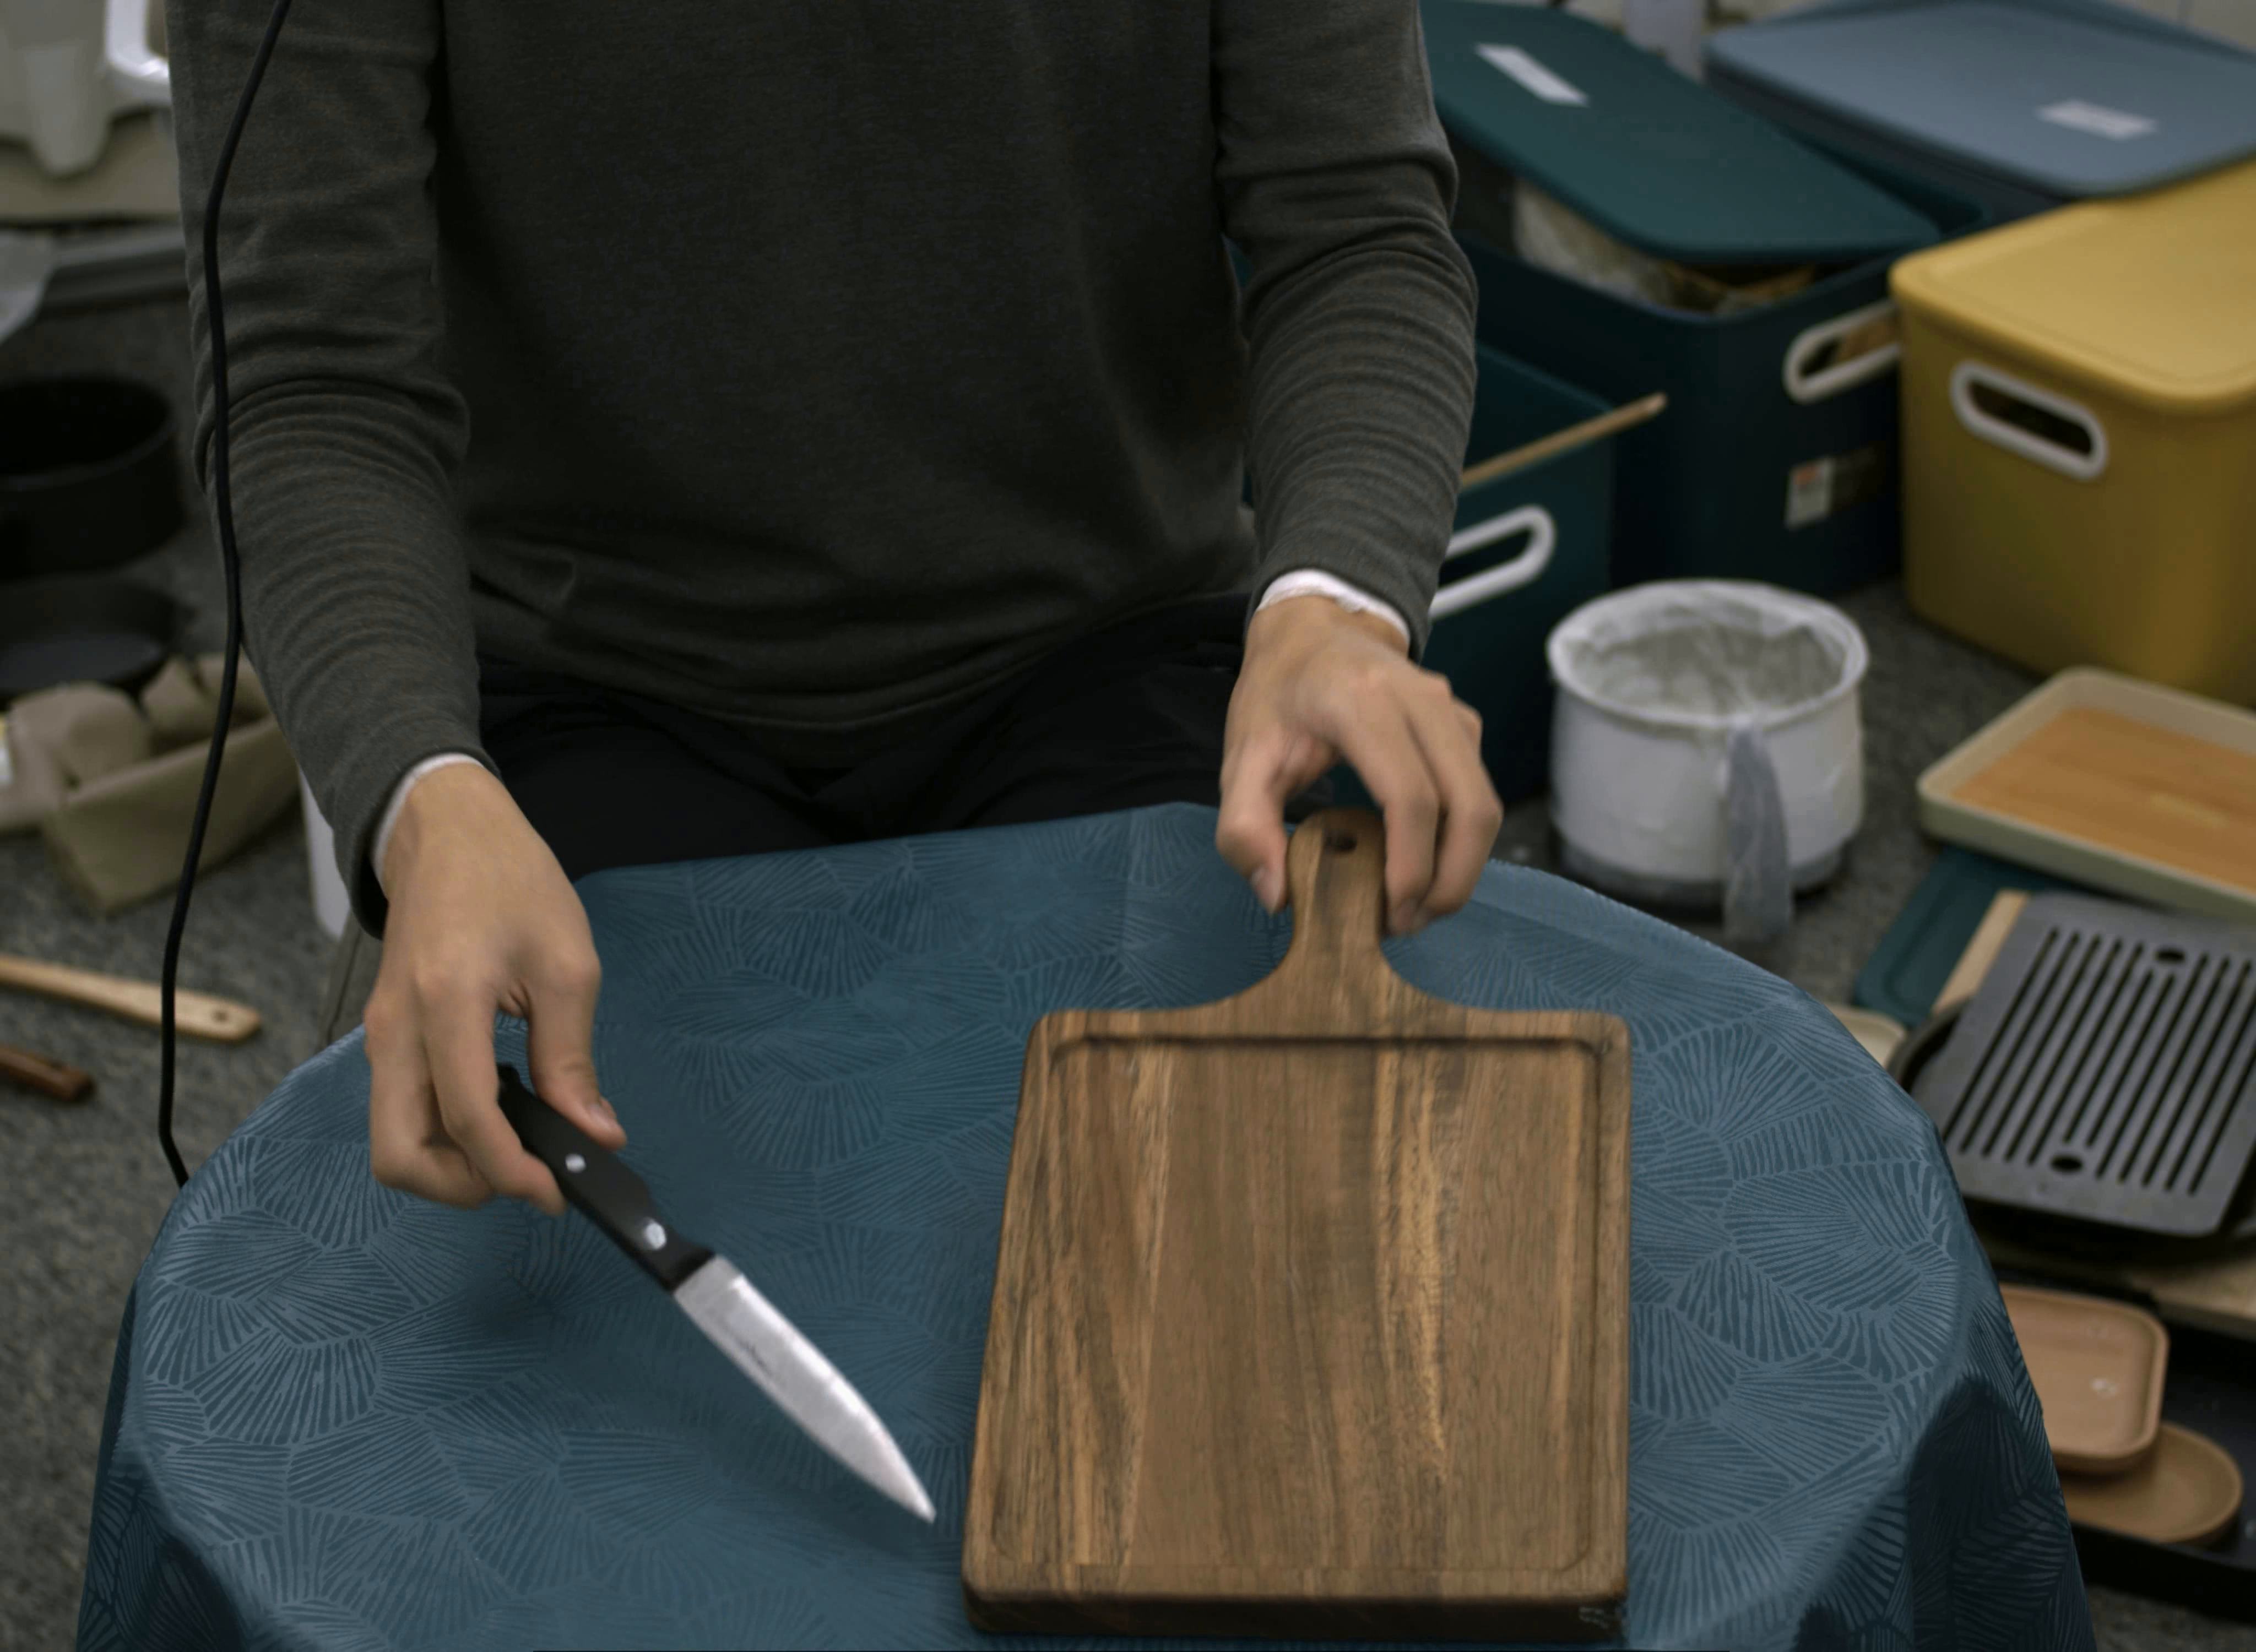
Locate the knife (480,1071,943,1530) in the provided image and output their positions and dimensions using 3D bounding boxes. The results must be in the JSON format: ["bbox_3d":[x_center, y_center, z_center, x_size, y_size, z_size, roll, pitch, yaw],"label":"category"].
[{"bbox_3d":[-0.132,0.148,1.737,0.025,0.016,0.239,-32,50,-23],"label":"knife"}]

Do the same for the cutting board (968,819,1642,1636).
[{"bbox_3d":[0.059,0.117,1.764,0.200,0.023,0.359,0,39,4],"label":"cutting board"}]
